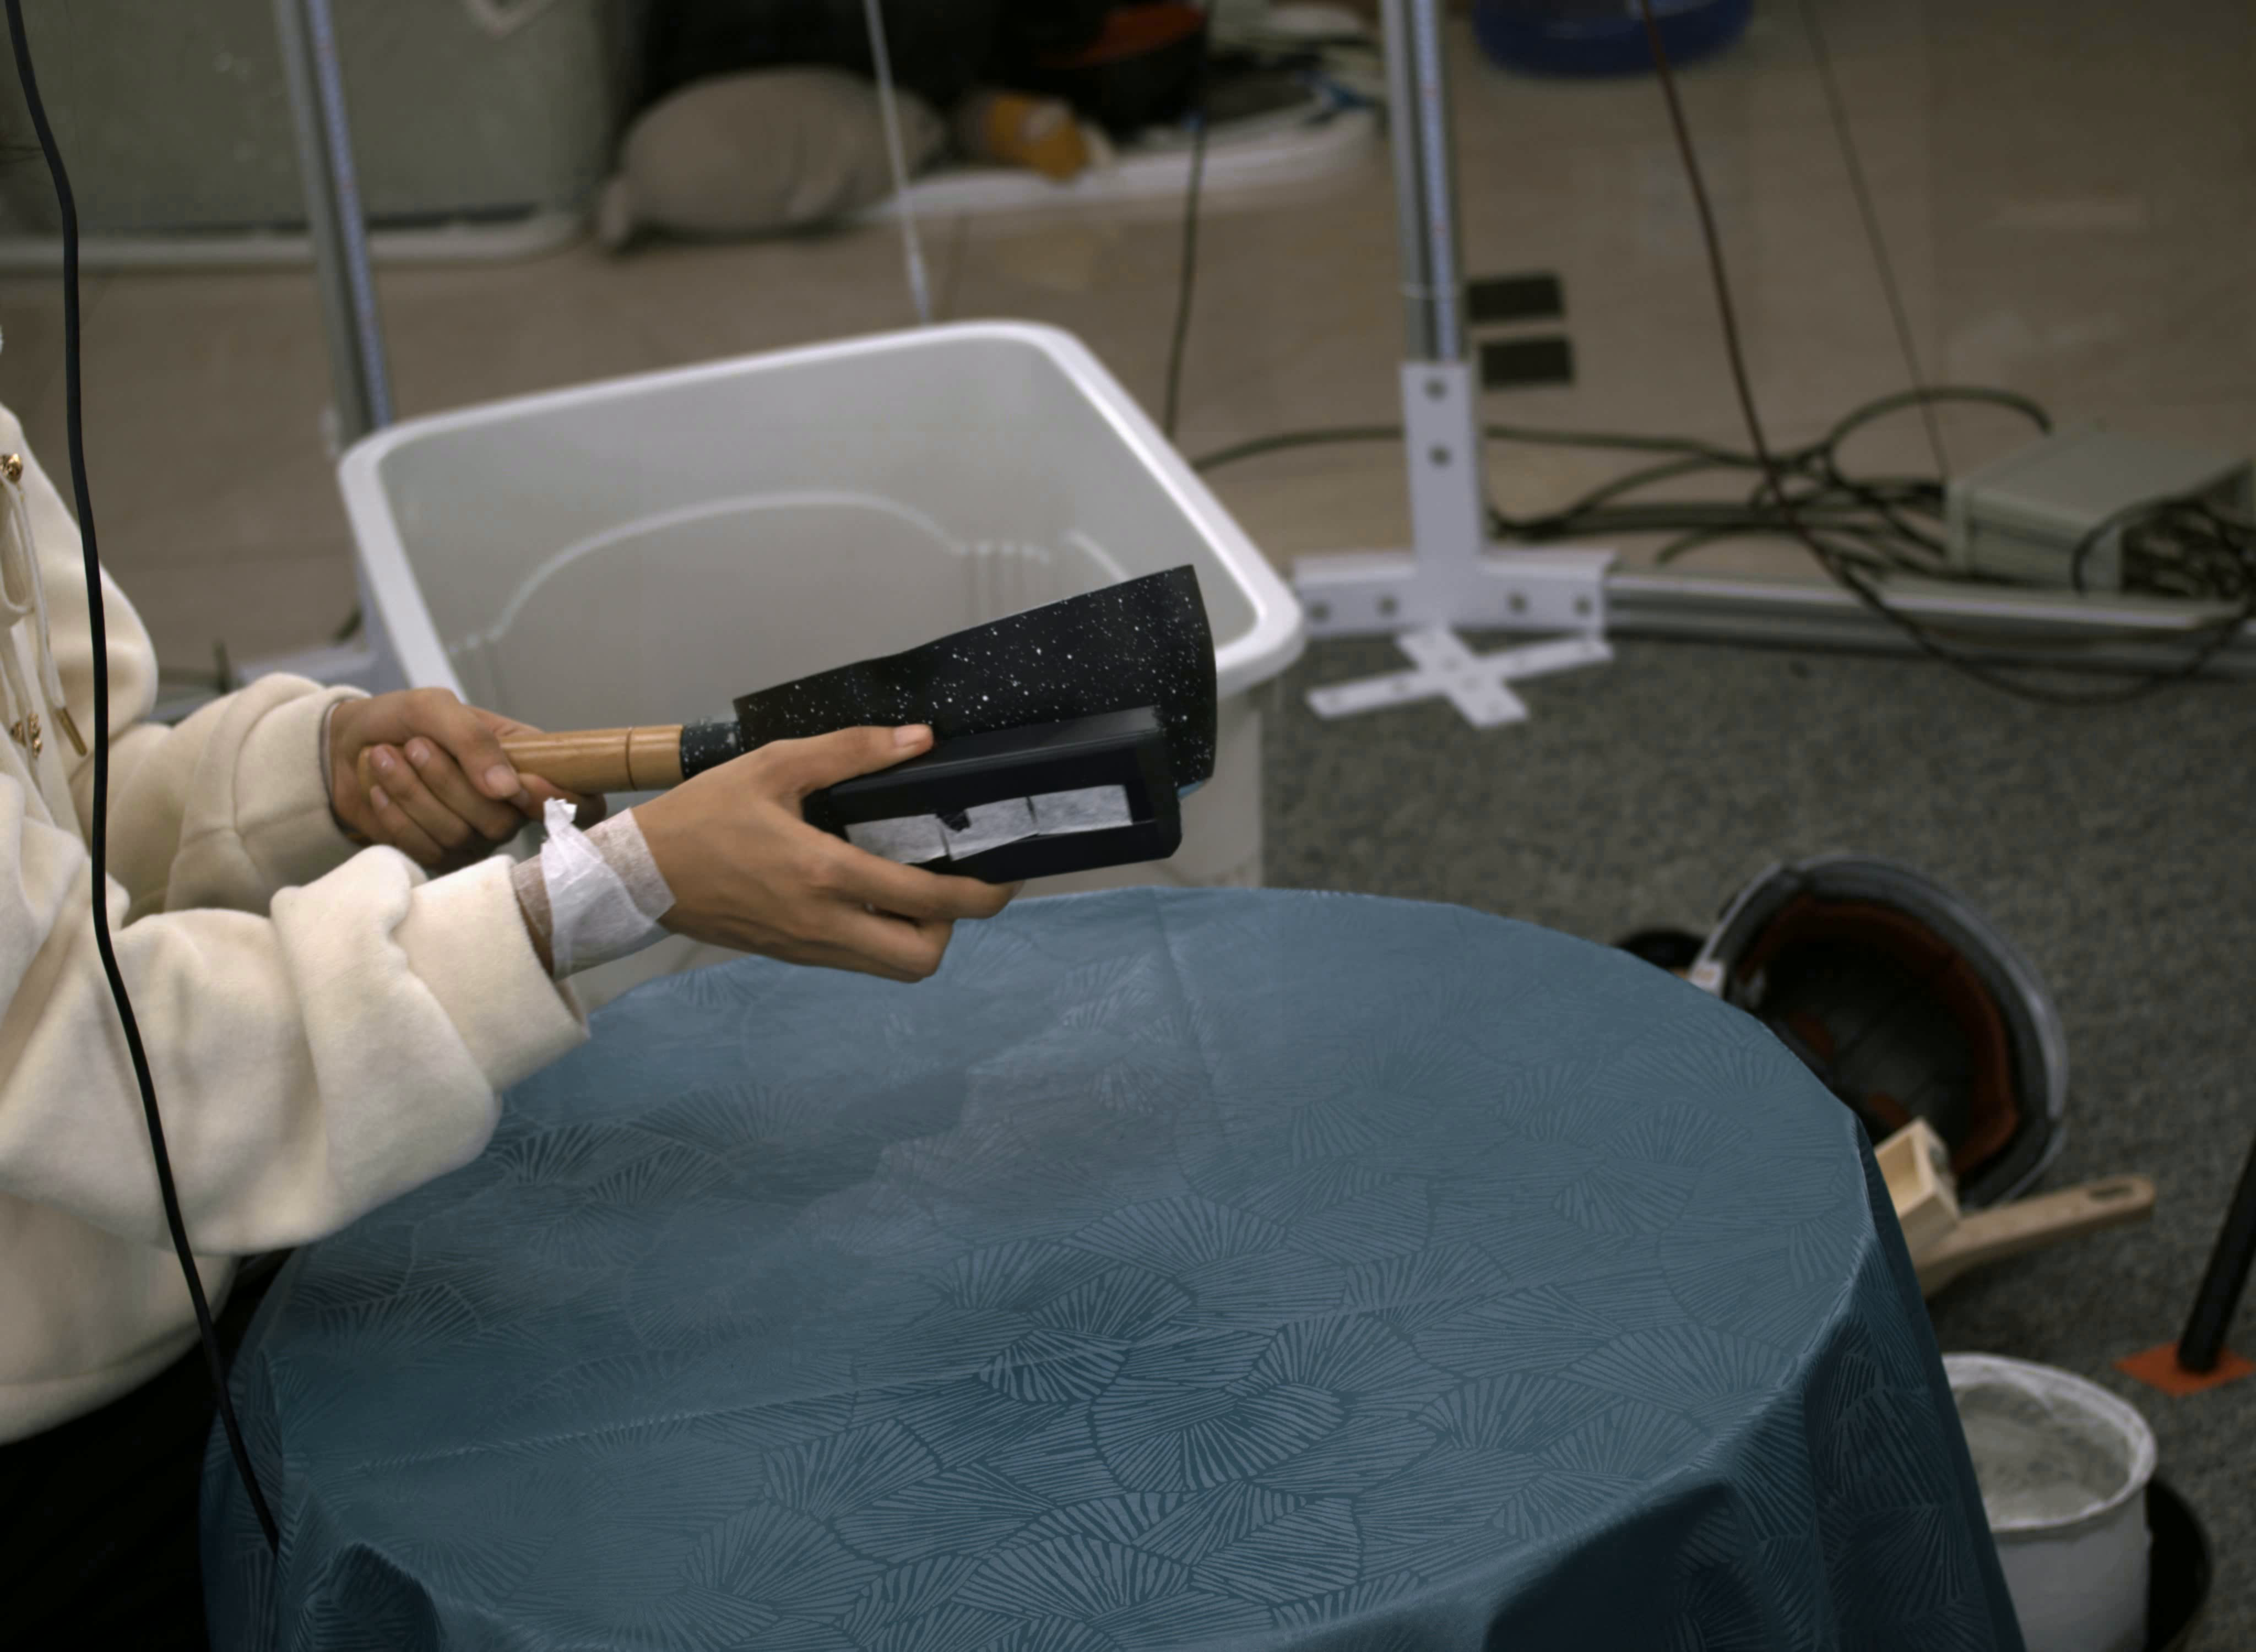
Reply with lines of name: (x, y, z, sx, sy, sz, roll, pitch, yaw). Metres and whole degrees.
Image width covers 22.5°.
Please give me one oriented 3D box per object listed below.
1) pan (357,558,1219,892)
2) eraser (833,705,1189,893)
pan: (-0.129, -0.024, 2.174, 0.343, 0.108, 0.207, -15, 2, 12)
eraser: (-0.042, -0.010, 2.054, 0.125, 0.054, 0.030, -7, 25, 21)
